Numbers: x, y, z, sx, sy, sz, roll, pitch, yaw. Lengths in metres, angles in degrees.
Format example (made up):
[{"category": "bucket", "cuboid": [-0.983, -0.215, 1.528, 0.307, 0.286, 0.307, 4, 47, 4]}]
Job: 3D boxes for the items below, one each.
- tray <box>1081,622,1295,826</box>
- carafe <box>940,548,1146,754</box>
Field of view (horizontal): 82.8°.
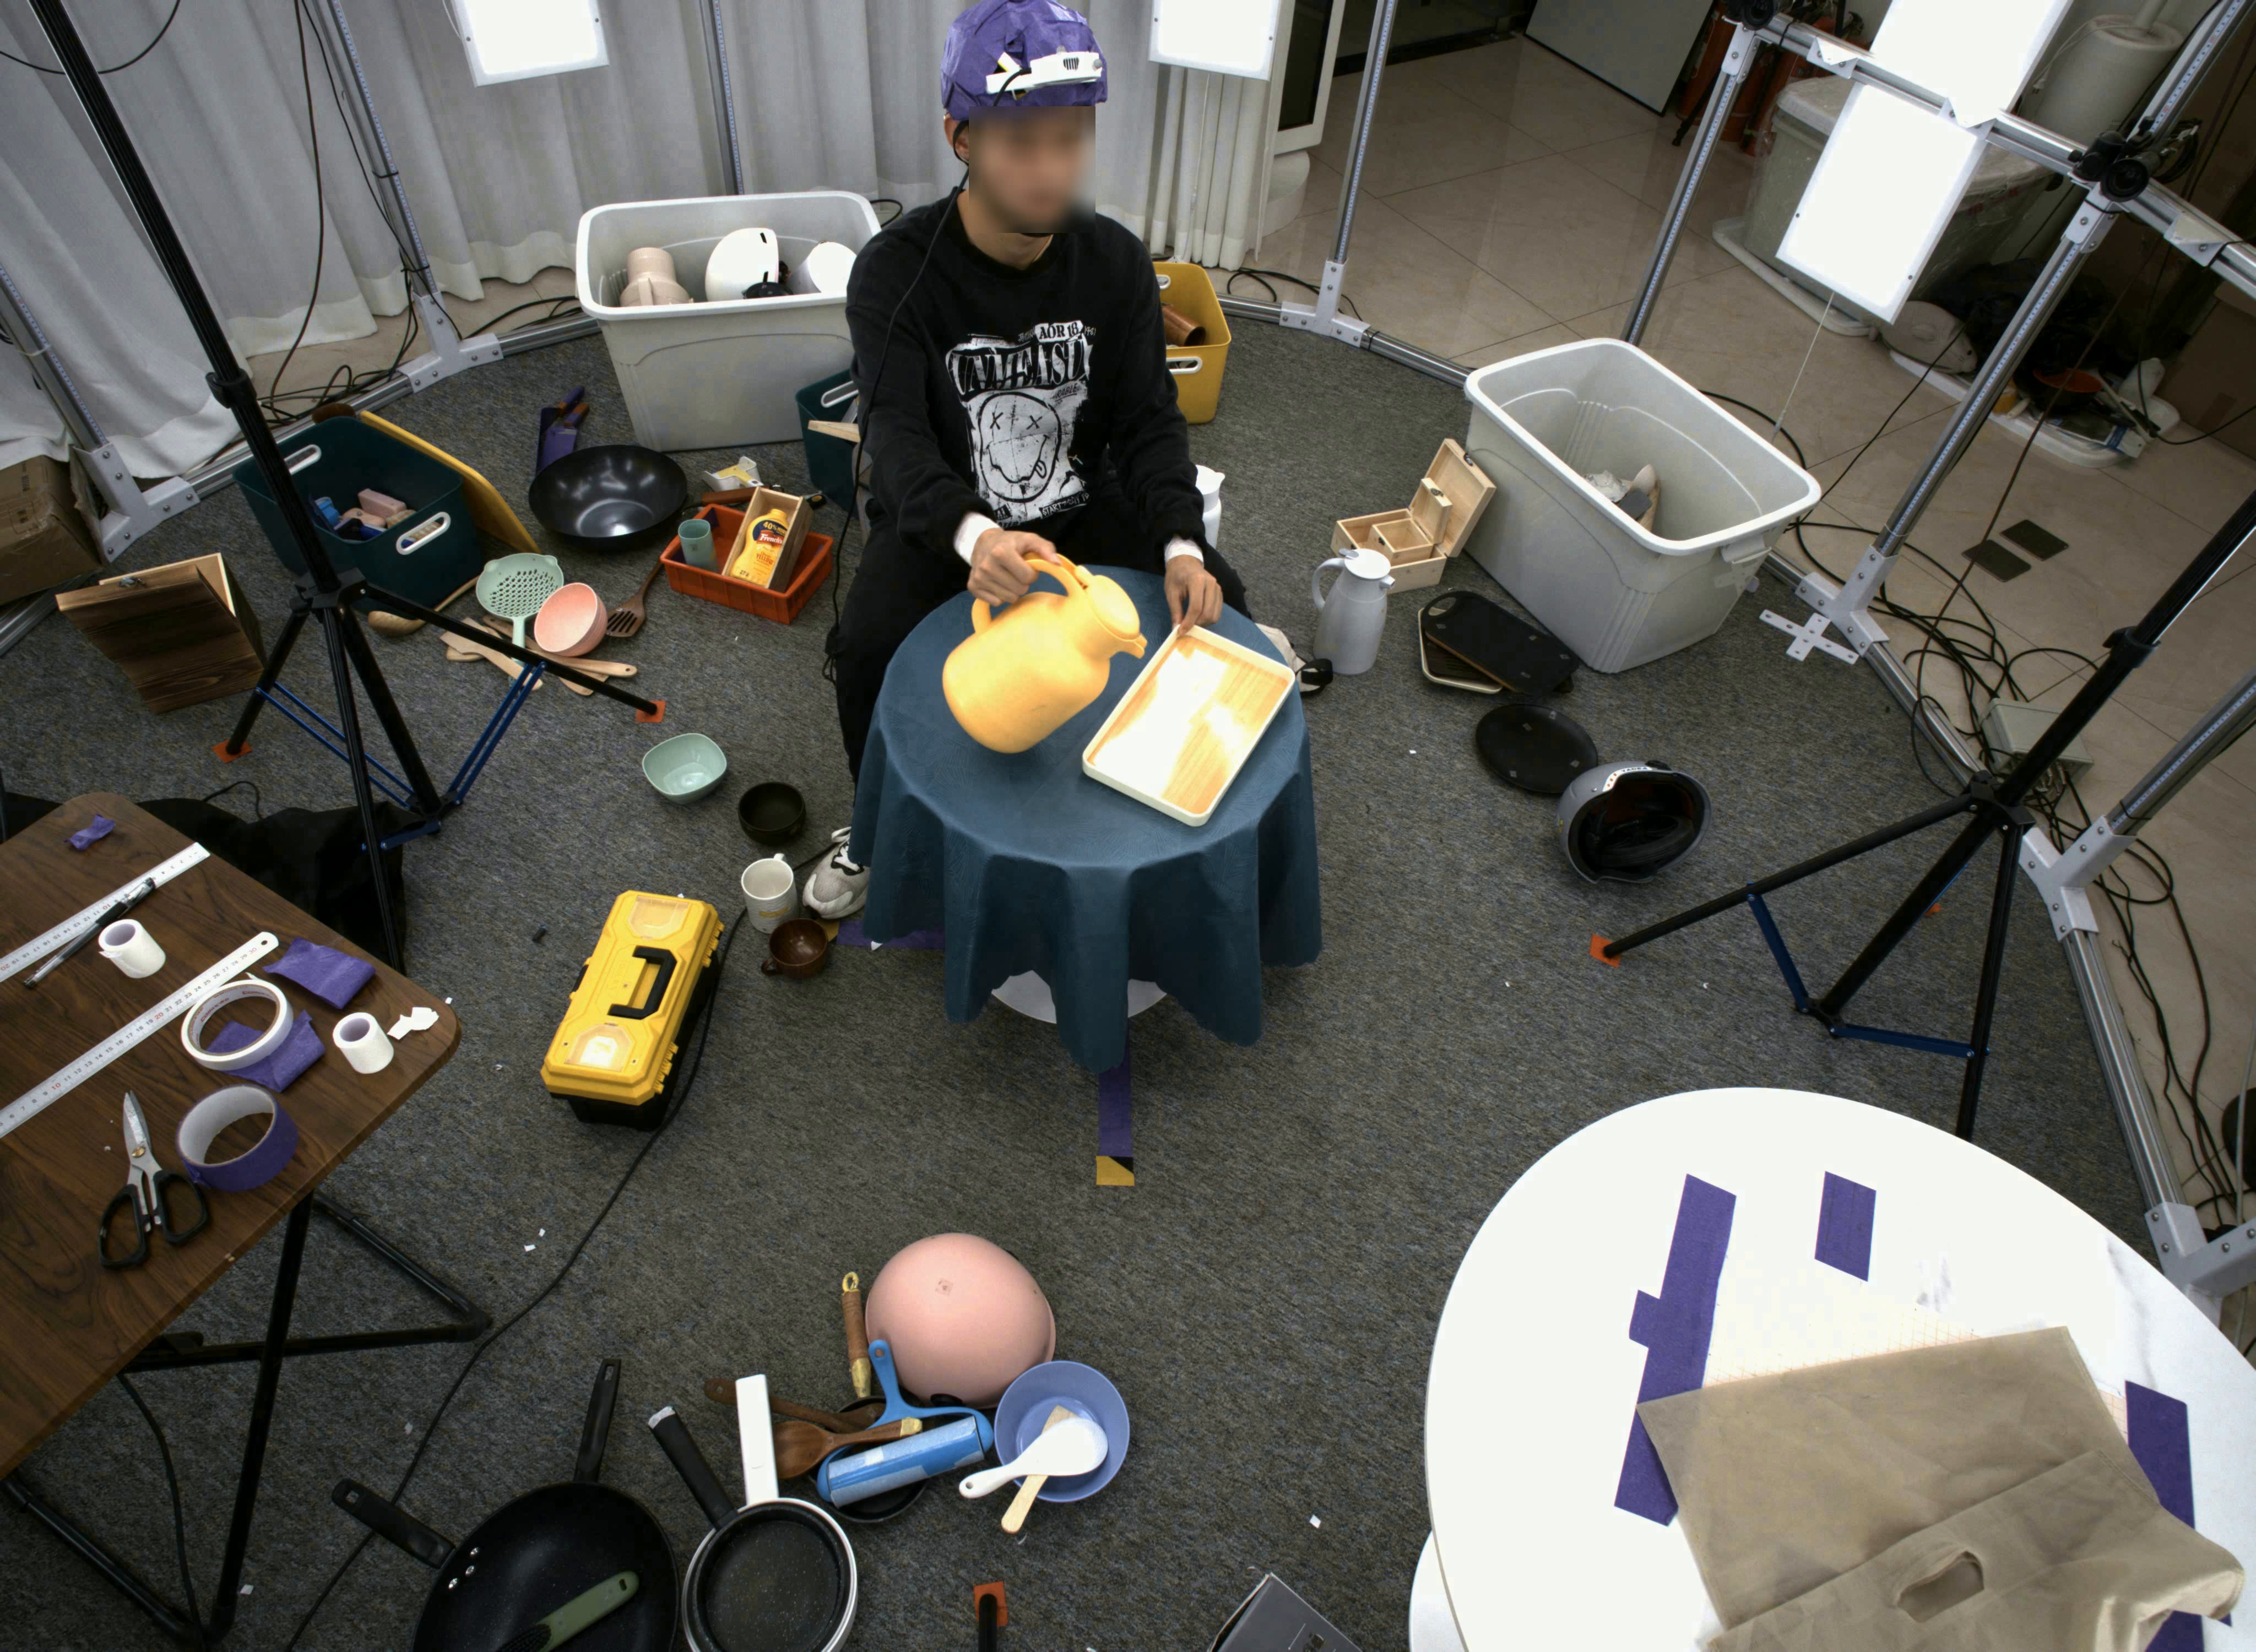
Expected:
[{"category": "tray", "cuboid": [0.086, -0.146, 1.763, 0.193, 0.027, 0.305, 26, 57, 14]}, {"category": "carafe", "cuboid": [-0.119, -0.228, 1.628, 0.200, 0.258, 0.167, 46, 29, -18]}]
